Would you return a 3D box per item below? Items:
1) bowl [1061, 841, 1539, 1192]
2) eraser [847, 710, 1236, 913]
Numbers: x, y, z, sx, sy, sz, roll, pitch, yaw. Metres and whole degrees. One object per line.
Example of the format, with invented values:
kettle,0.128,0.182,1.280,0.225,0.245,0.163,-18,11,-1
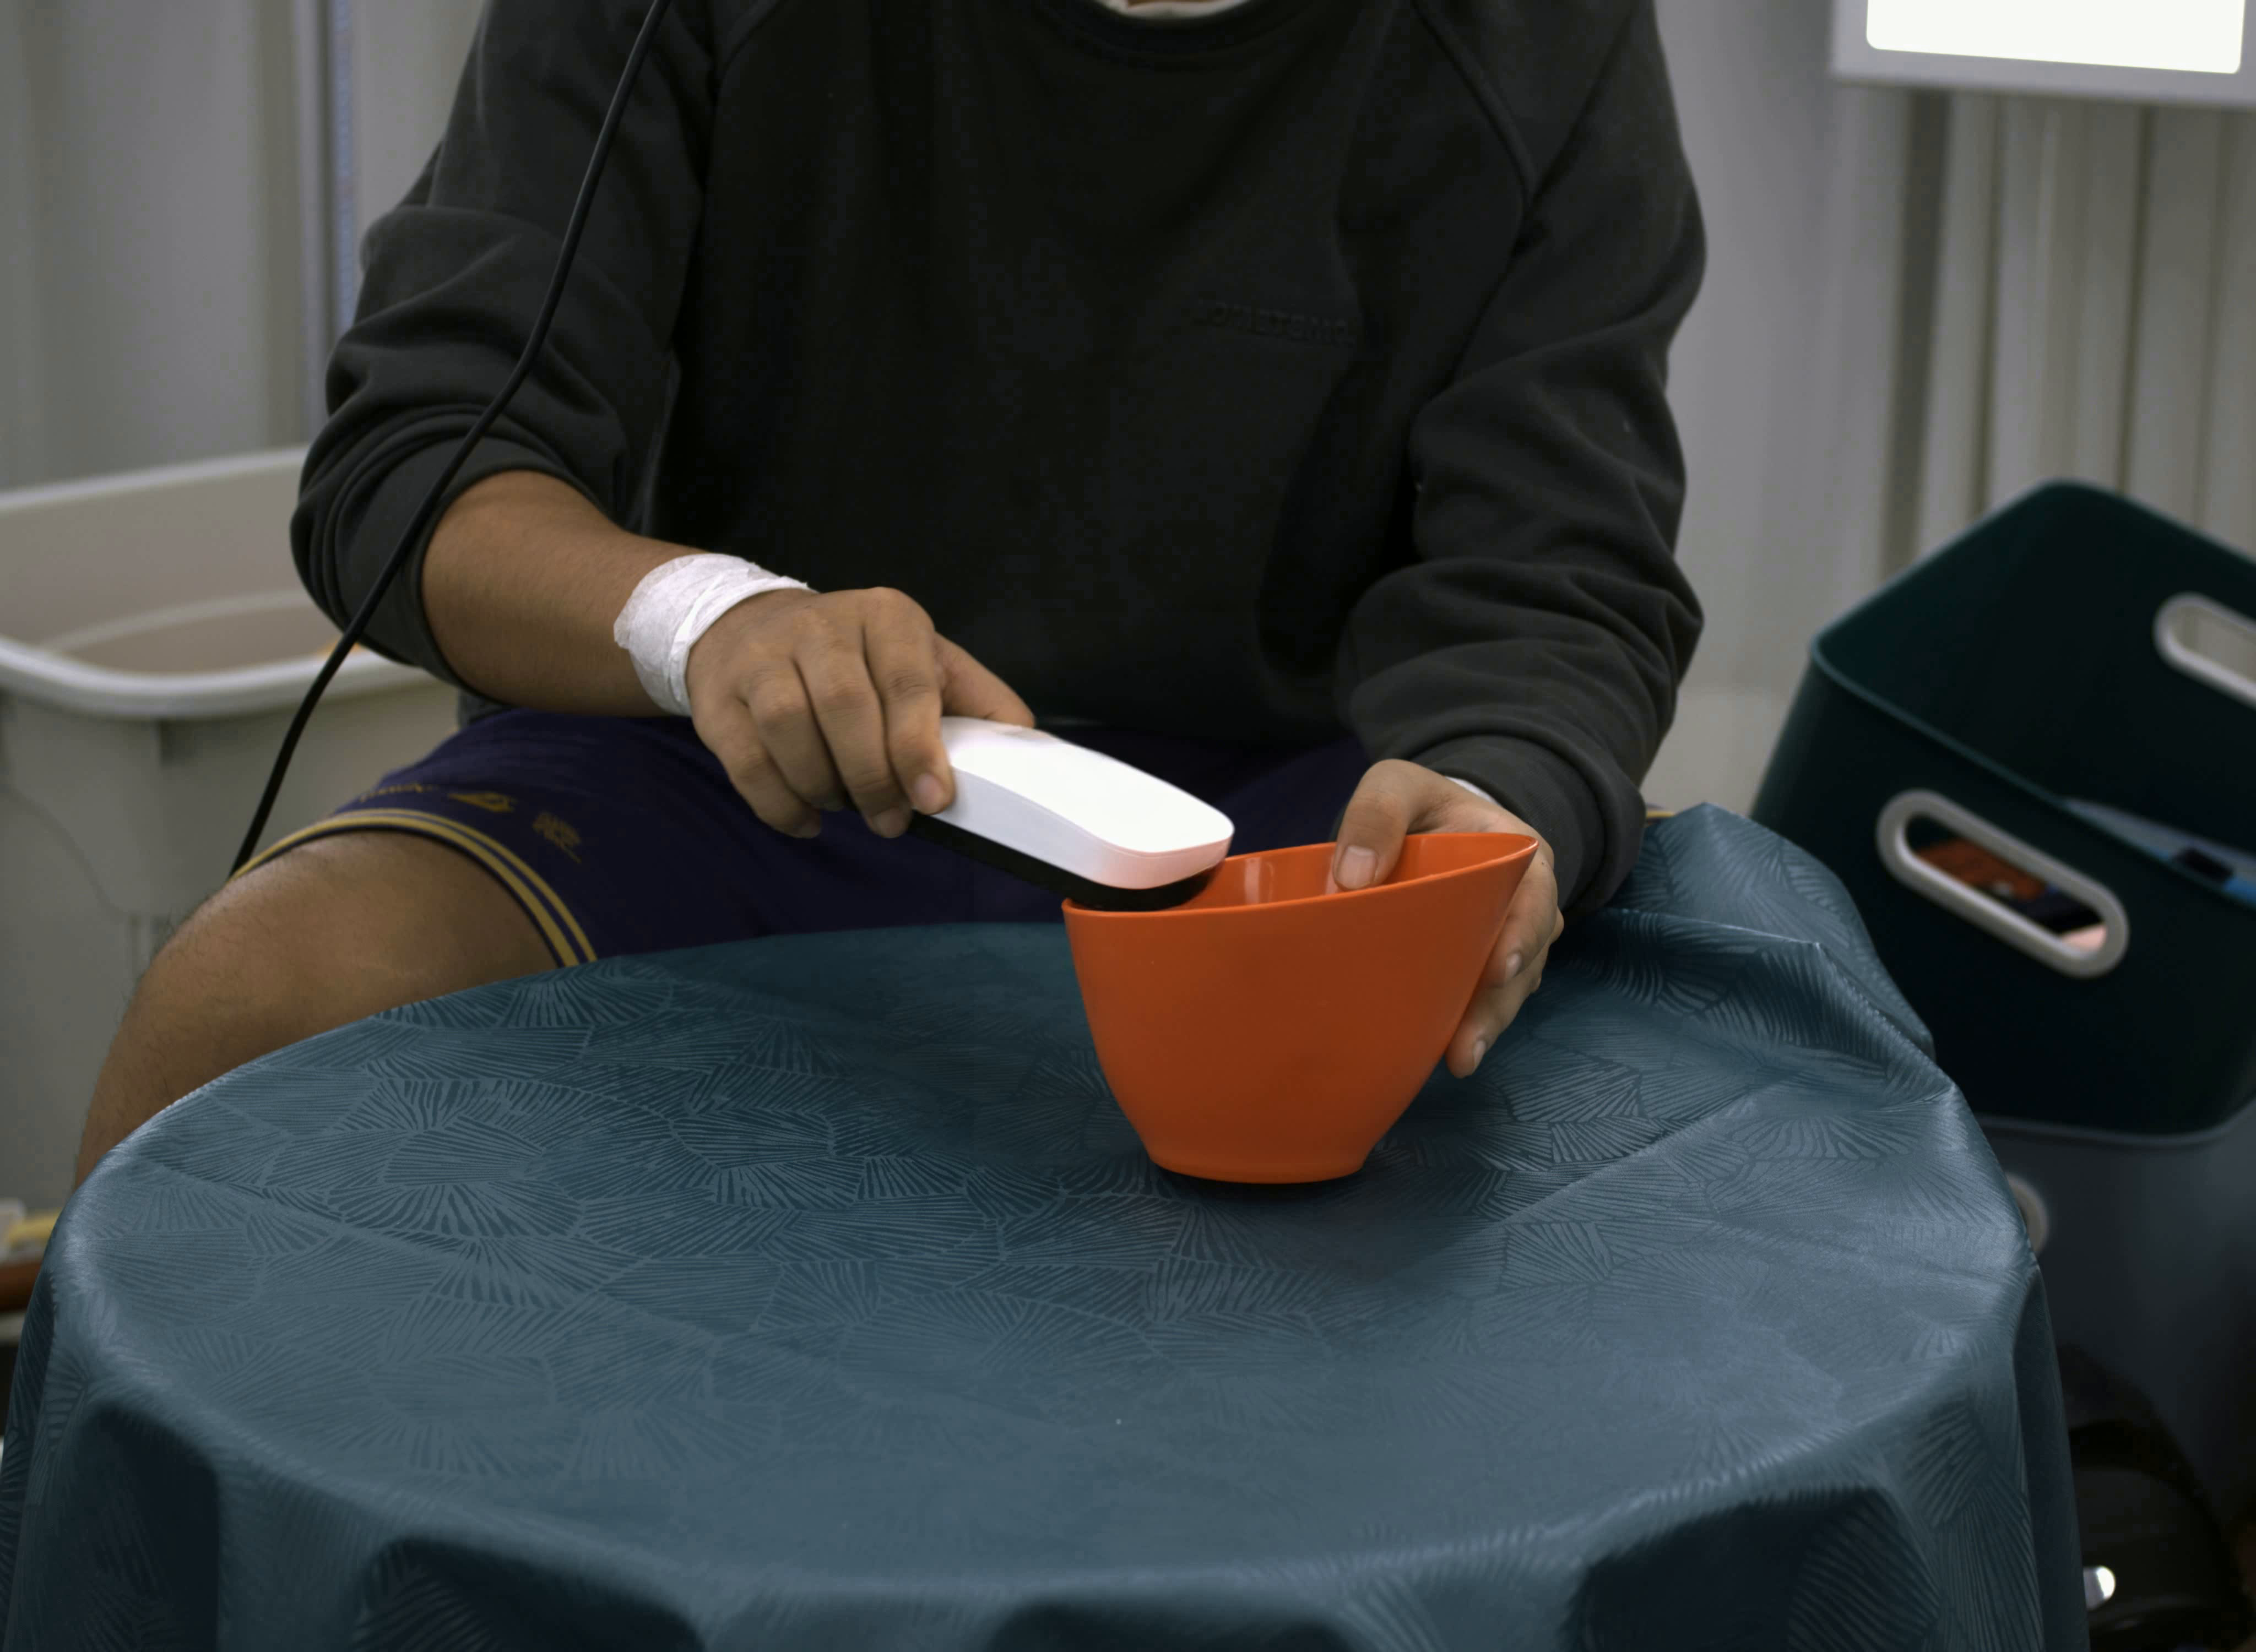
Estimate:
bowl,0.051,0.057,1.626,0.147,0.105,0.147,2,8,0
eraser,-0.028,-0.009,1.676,0.129,0.035,0.064,25,21,35
